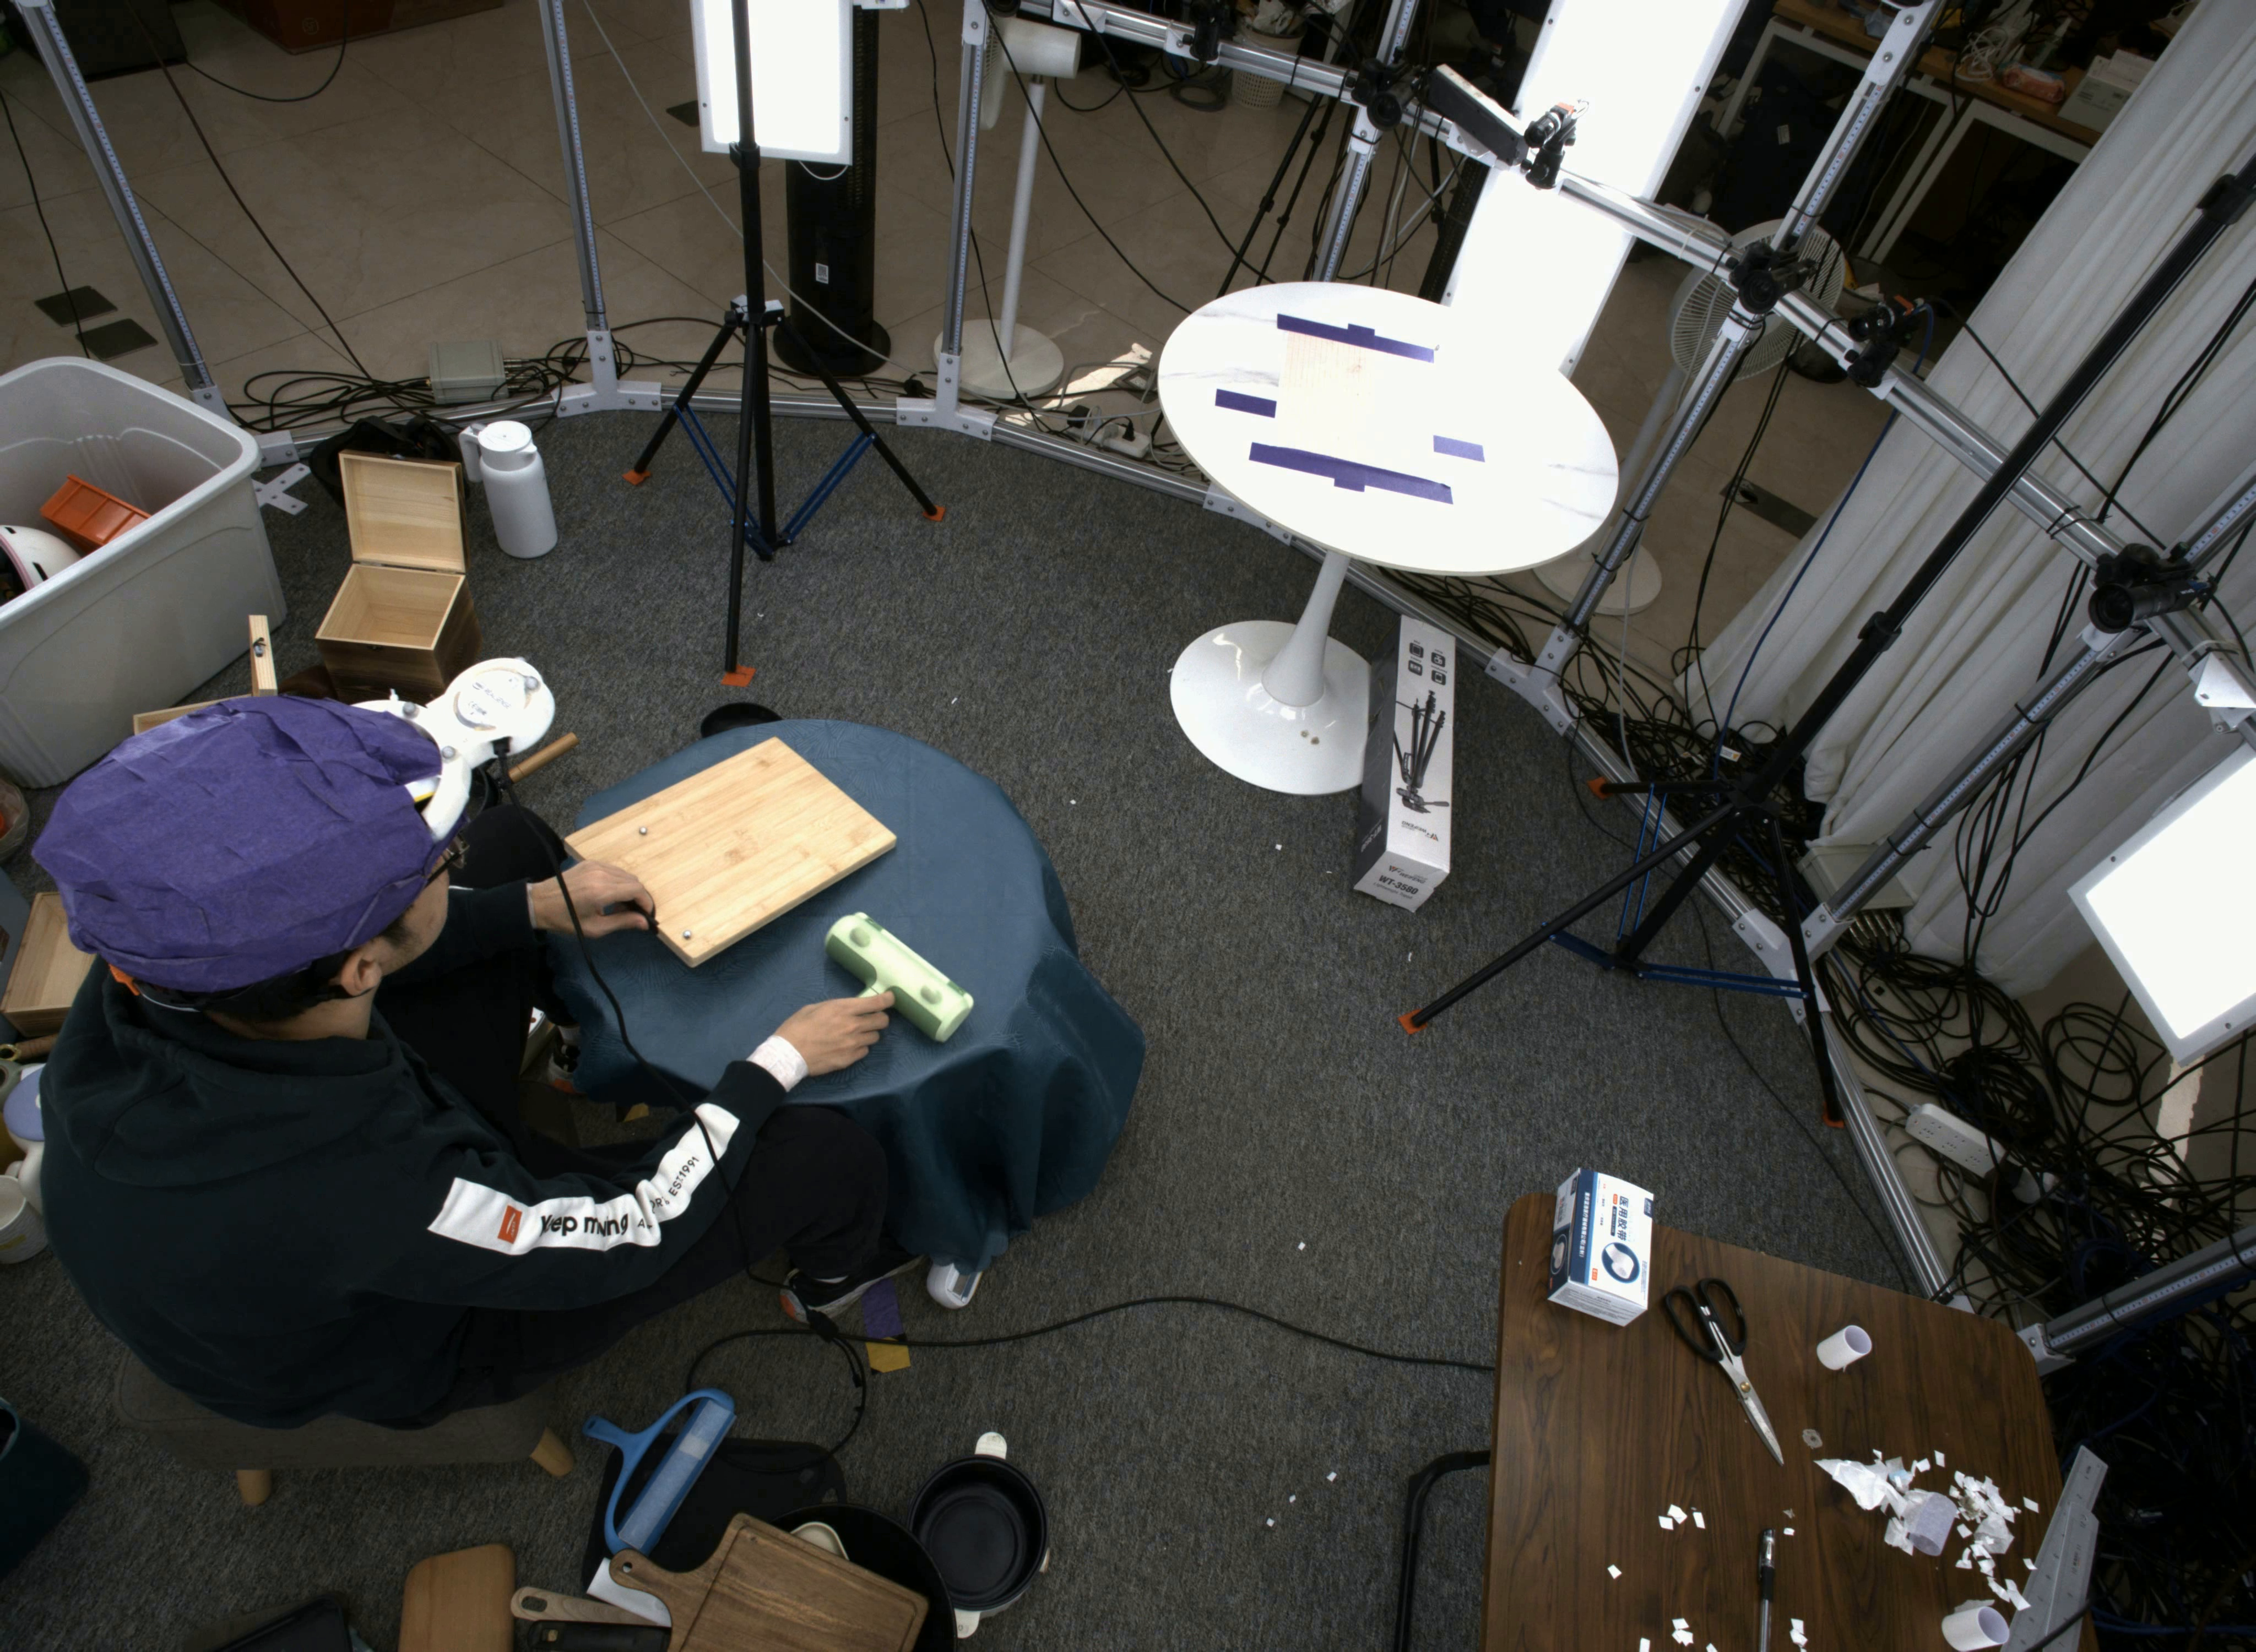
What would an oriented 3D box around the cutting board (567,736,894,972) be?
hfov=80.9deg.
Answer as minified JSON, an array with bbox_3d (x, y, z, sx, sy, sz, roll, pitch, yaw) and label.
[{"bbox_3d":[-0.501,0.022,1.641,0.246,0.024,0.349,38,43,14],"label":"cutting board"}]

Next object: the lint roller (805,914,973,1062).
[{"bbox_3d":[-0.313,0.205,1.549,0.195,0.083,0.183,37,46,14],"label":"lint roller"}]
